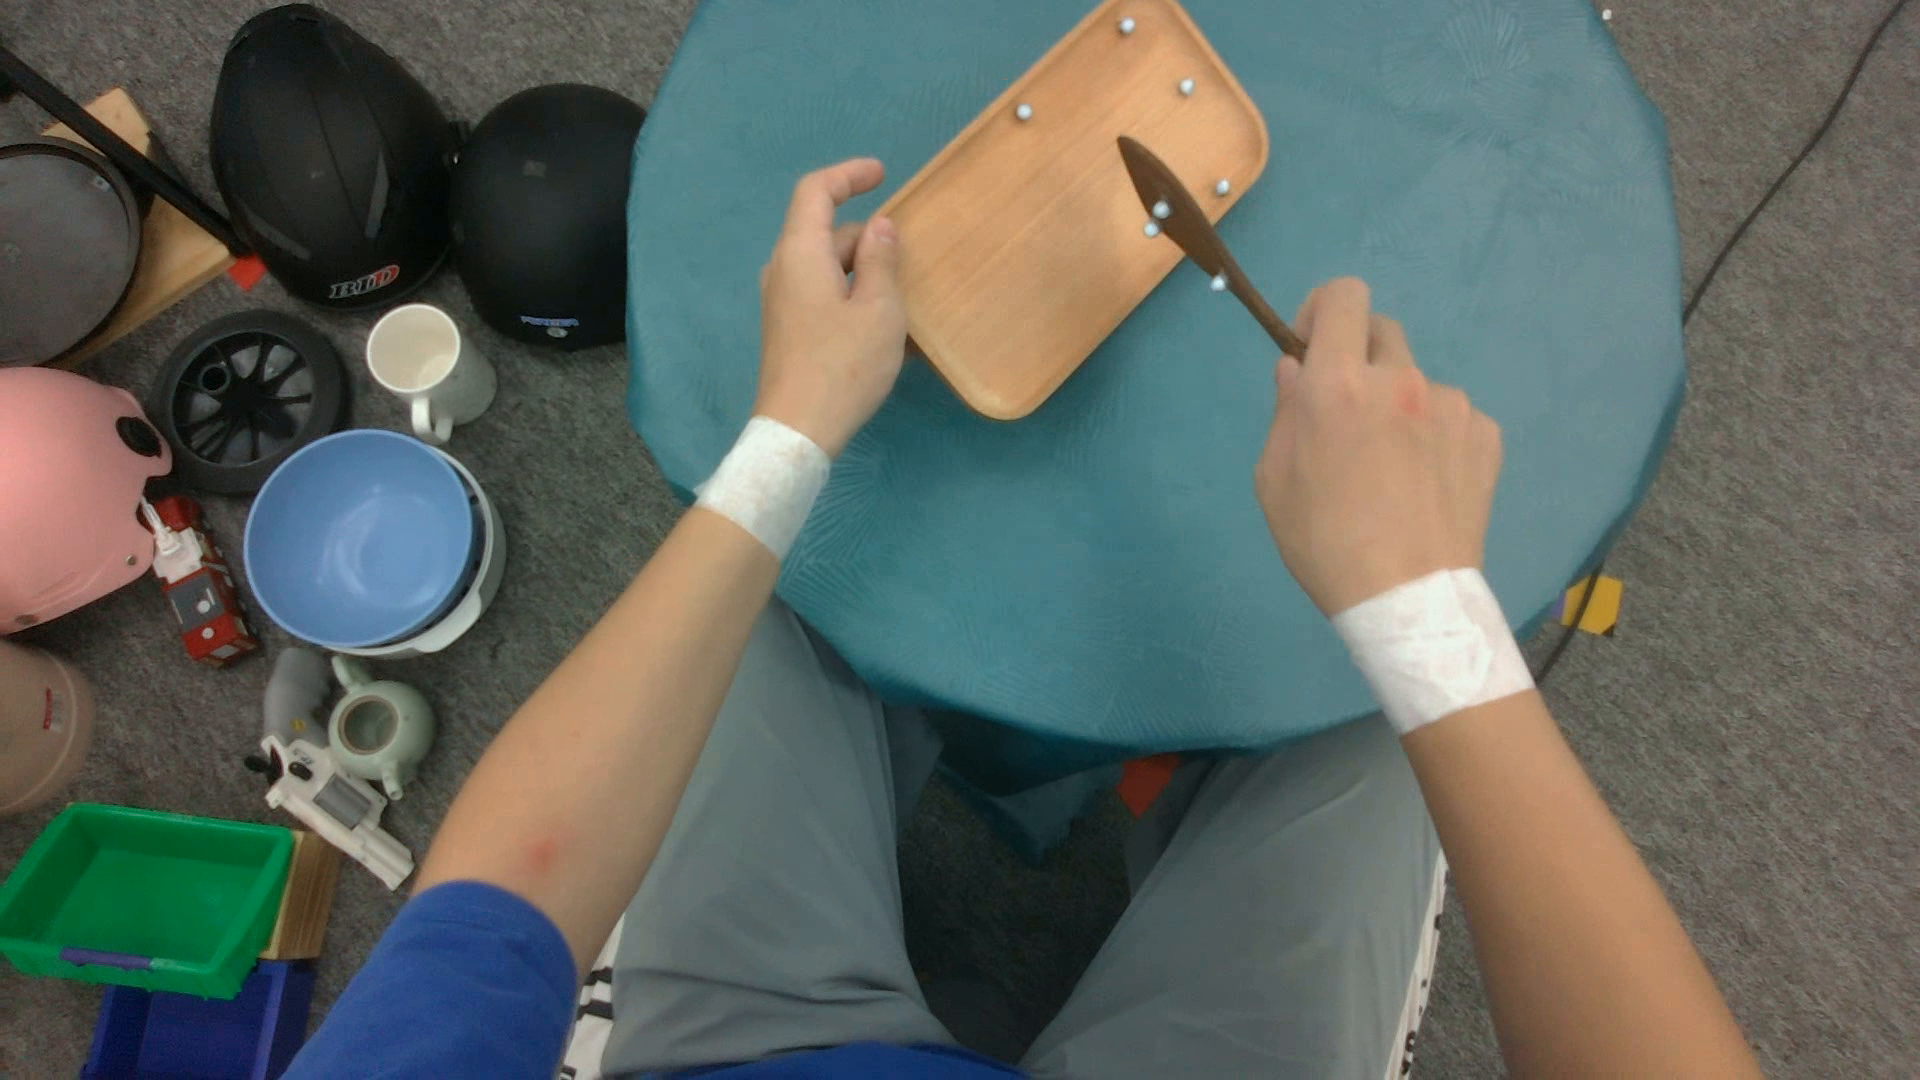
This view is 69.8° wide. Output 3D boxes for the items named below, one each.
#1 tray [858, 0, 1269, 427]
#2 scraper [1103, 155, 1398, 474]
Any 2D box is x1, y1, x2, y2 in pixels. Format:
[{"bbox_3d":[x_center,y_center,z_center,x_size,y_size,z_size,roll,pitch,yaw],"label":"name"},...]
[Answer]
[{"bbox_3d":[0.061,-0.178,0.736,0.251,0.023,0.130,-46,101,-18],"label":"tray"},{"bbox_3d":[0.134,-0.106,0.639,0.011,0.076,0.212,-39,57,7],"label":"scraper"}]
